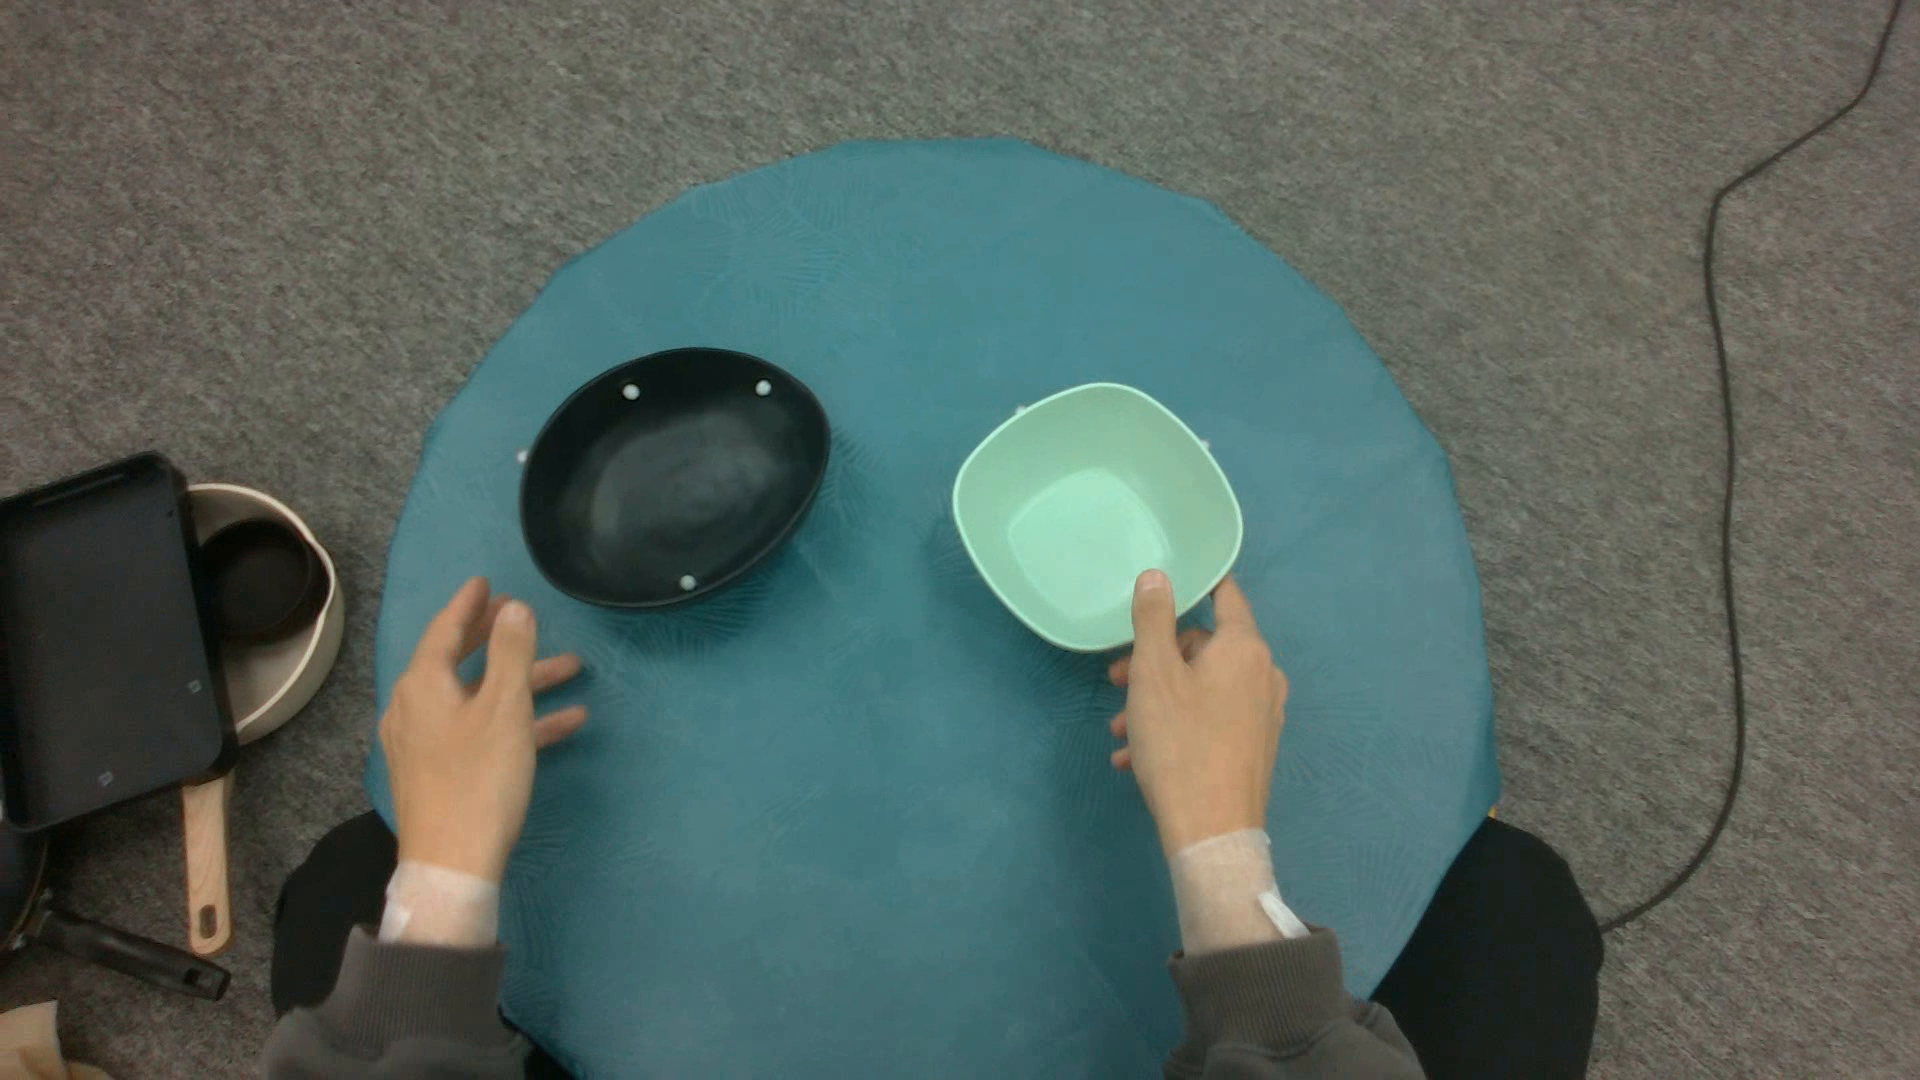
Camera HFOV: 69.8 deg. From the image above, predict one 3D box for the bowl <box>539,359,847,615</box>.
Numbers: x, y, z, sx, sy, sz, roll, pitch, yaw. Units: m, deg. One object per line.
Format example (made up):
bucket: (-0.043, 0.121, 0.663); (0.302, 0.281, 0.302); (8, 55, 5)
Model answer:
bowl: (-0.142, -0.024, 0.753); (0.170, 0.066, 0.137); (-35, 73, -14)

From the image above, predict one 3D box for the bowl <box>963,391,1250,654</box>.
bowl: (0.077, -0.002, 0.747); (0.151, 0.058, 0.152); (0, 67, 1)
